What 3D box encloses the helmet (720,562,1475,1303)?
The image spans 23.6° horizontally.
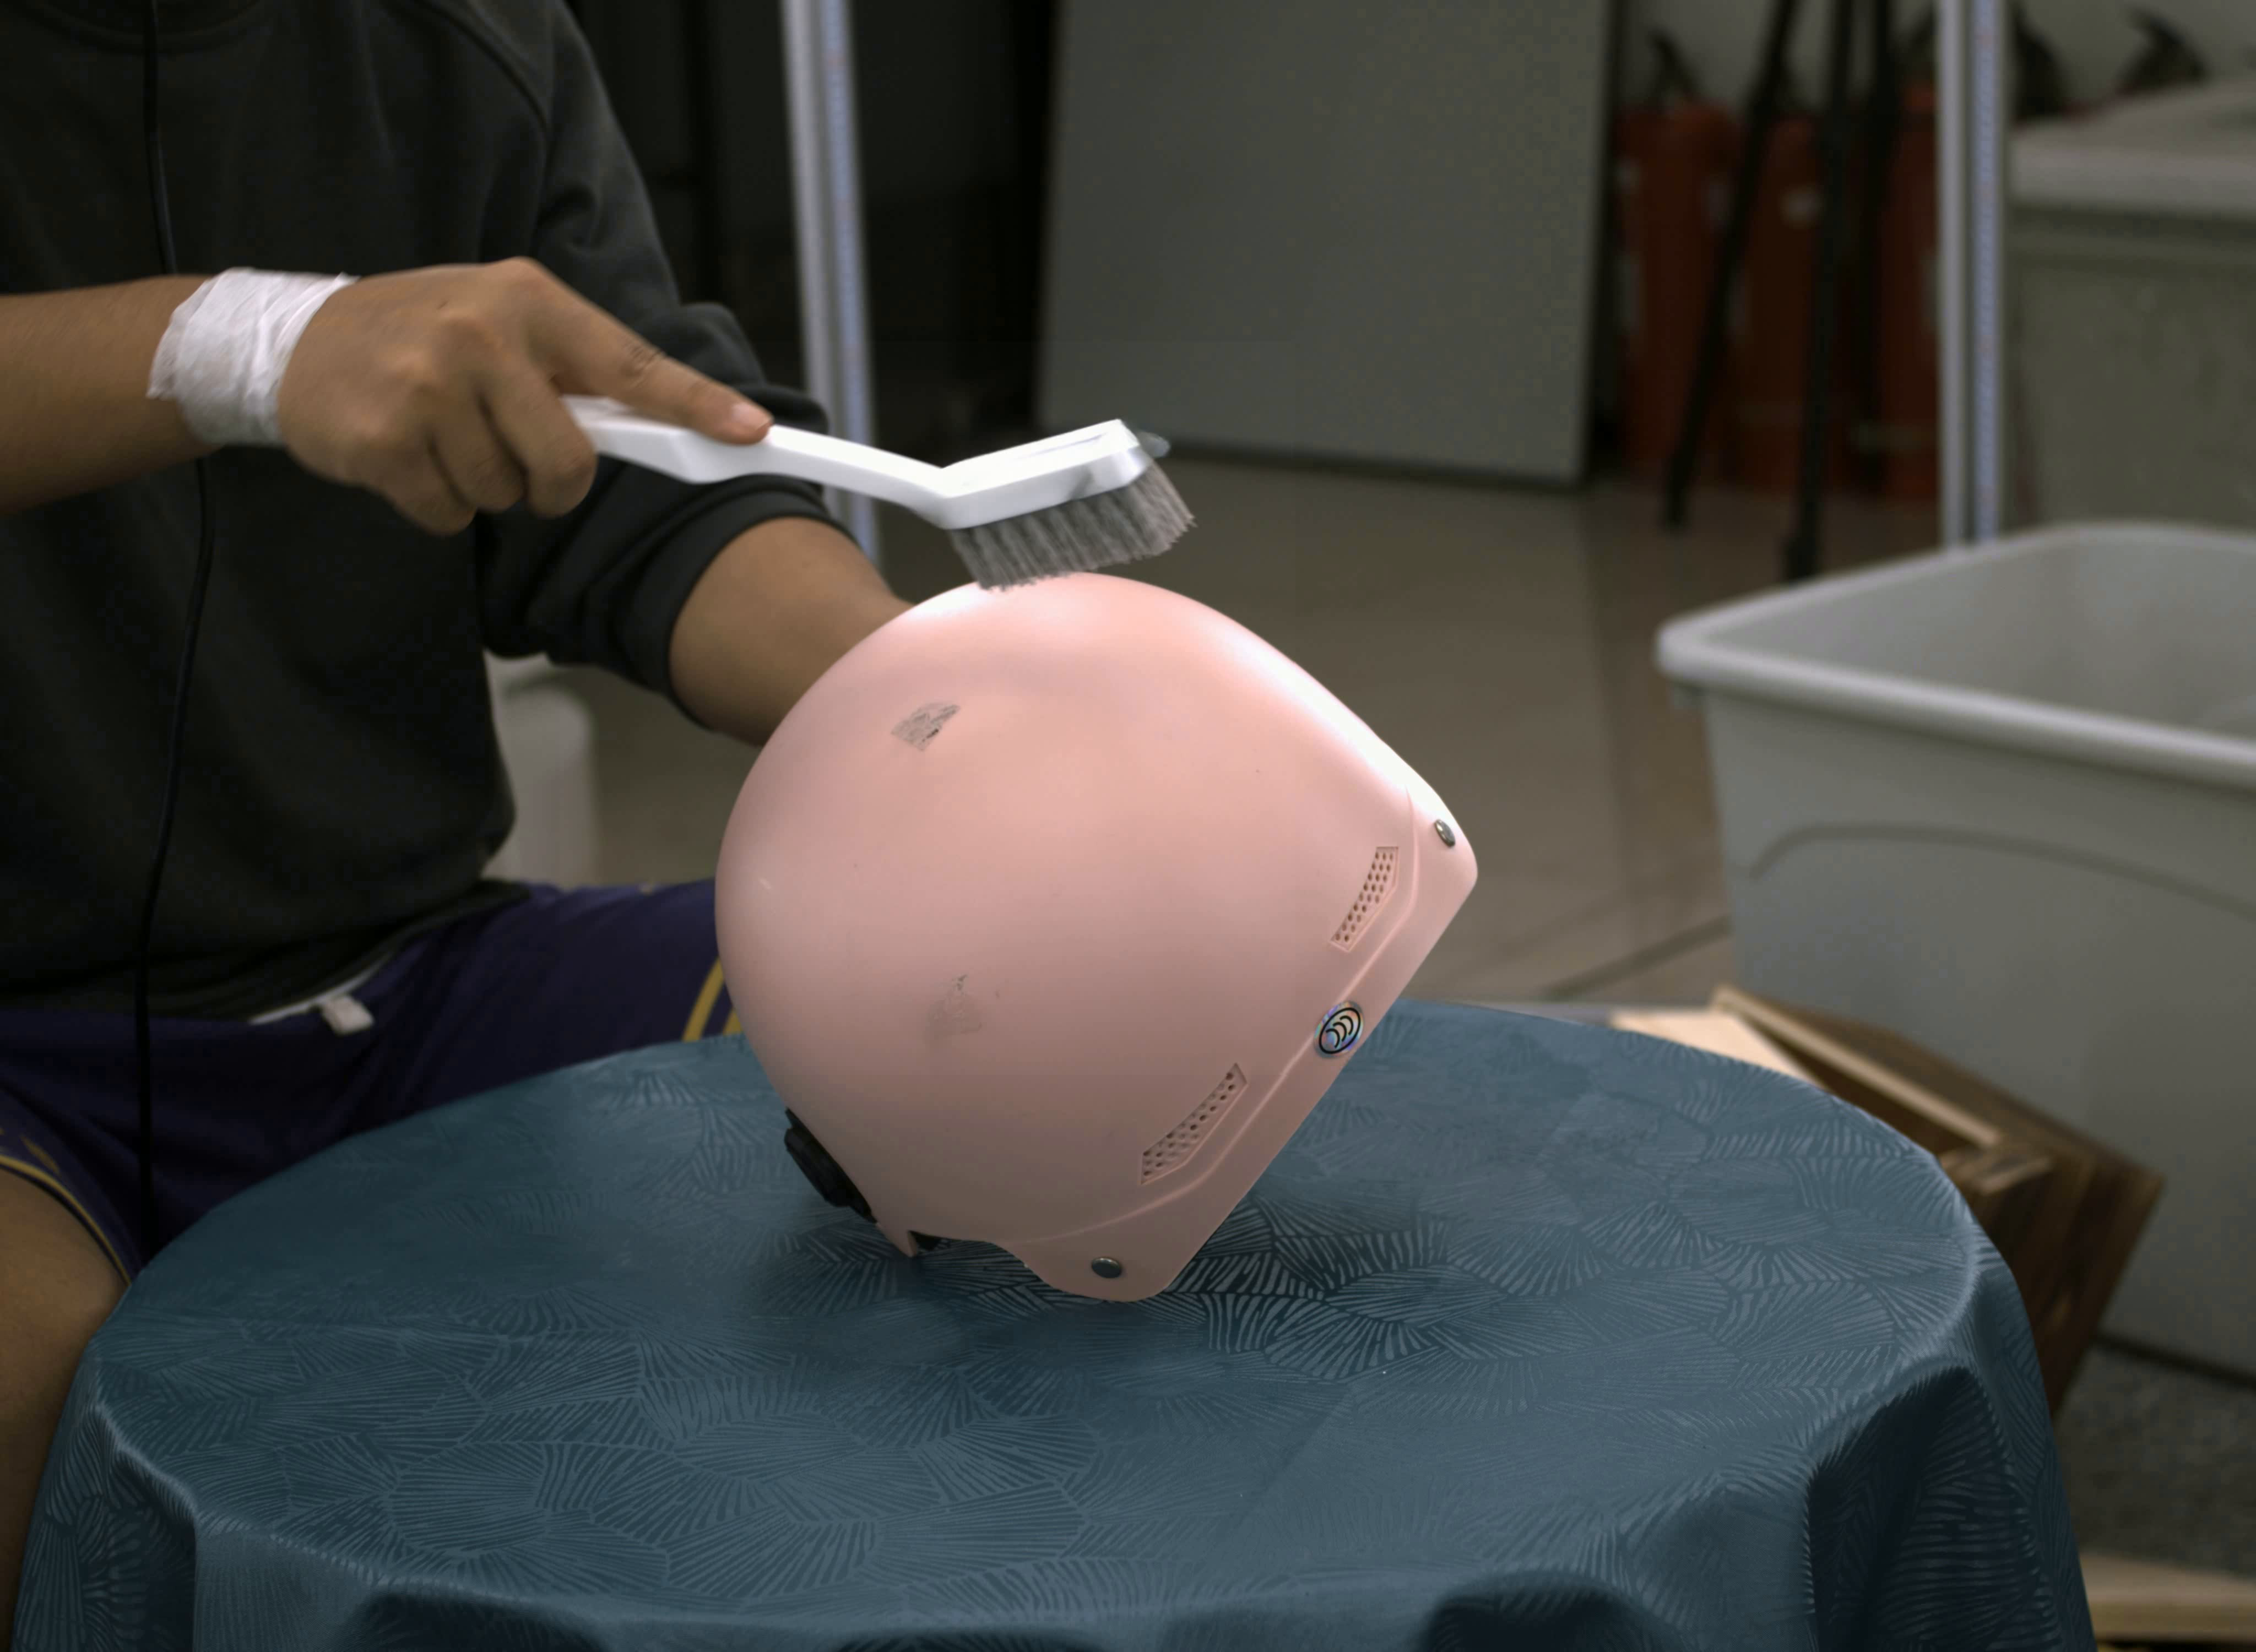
[{"bbox_3d":[-0.037,0.011,1.700,0.234,0.157,0.269,-53,35,-13],"label":"helmet"}]

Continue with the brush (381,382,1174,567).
[{"bbox_3d":[-0.105,-0.103,1.603,0.242,0.050,0.034,0,24,15],"label":"brush"}]
